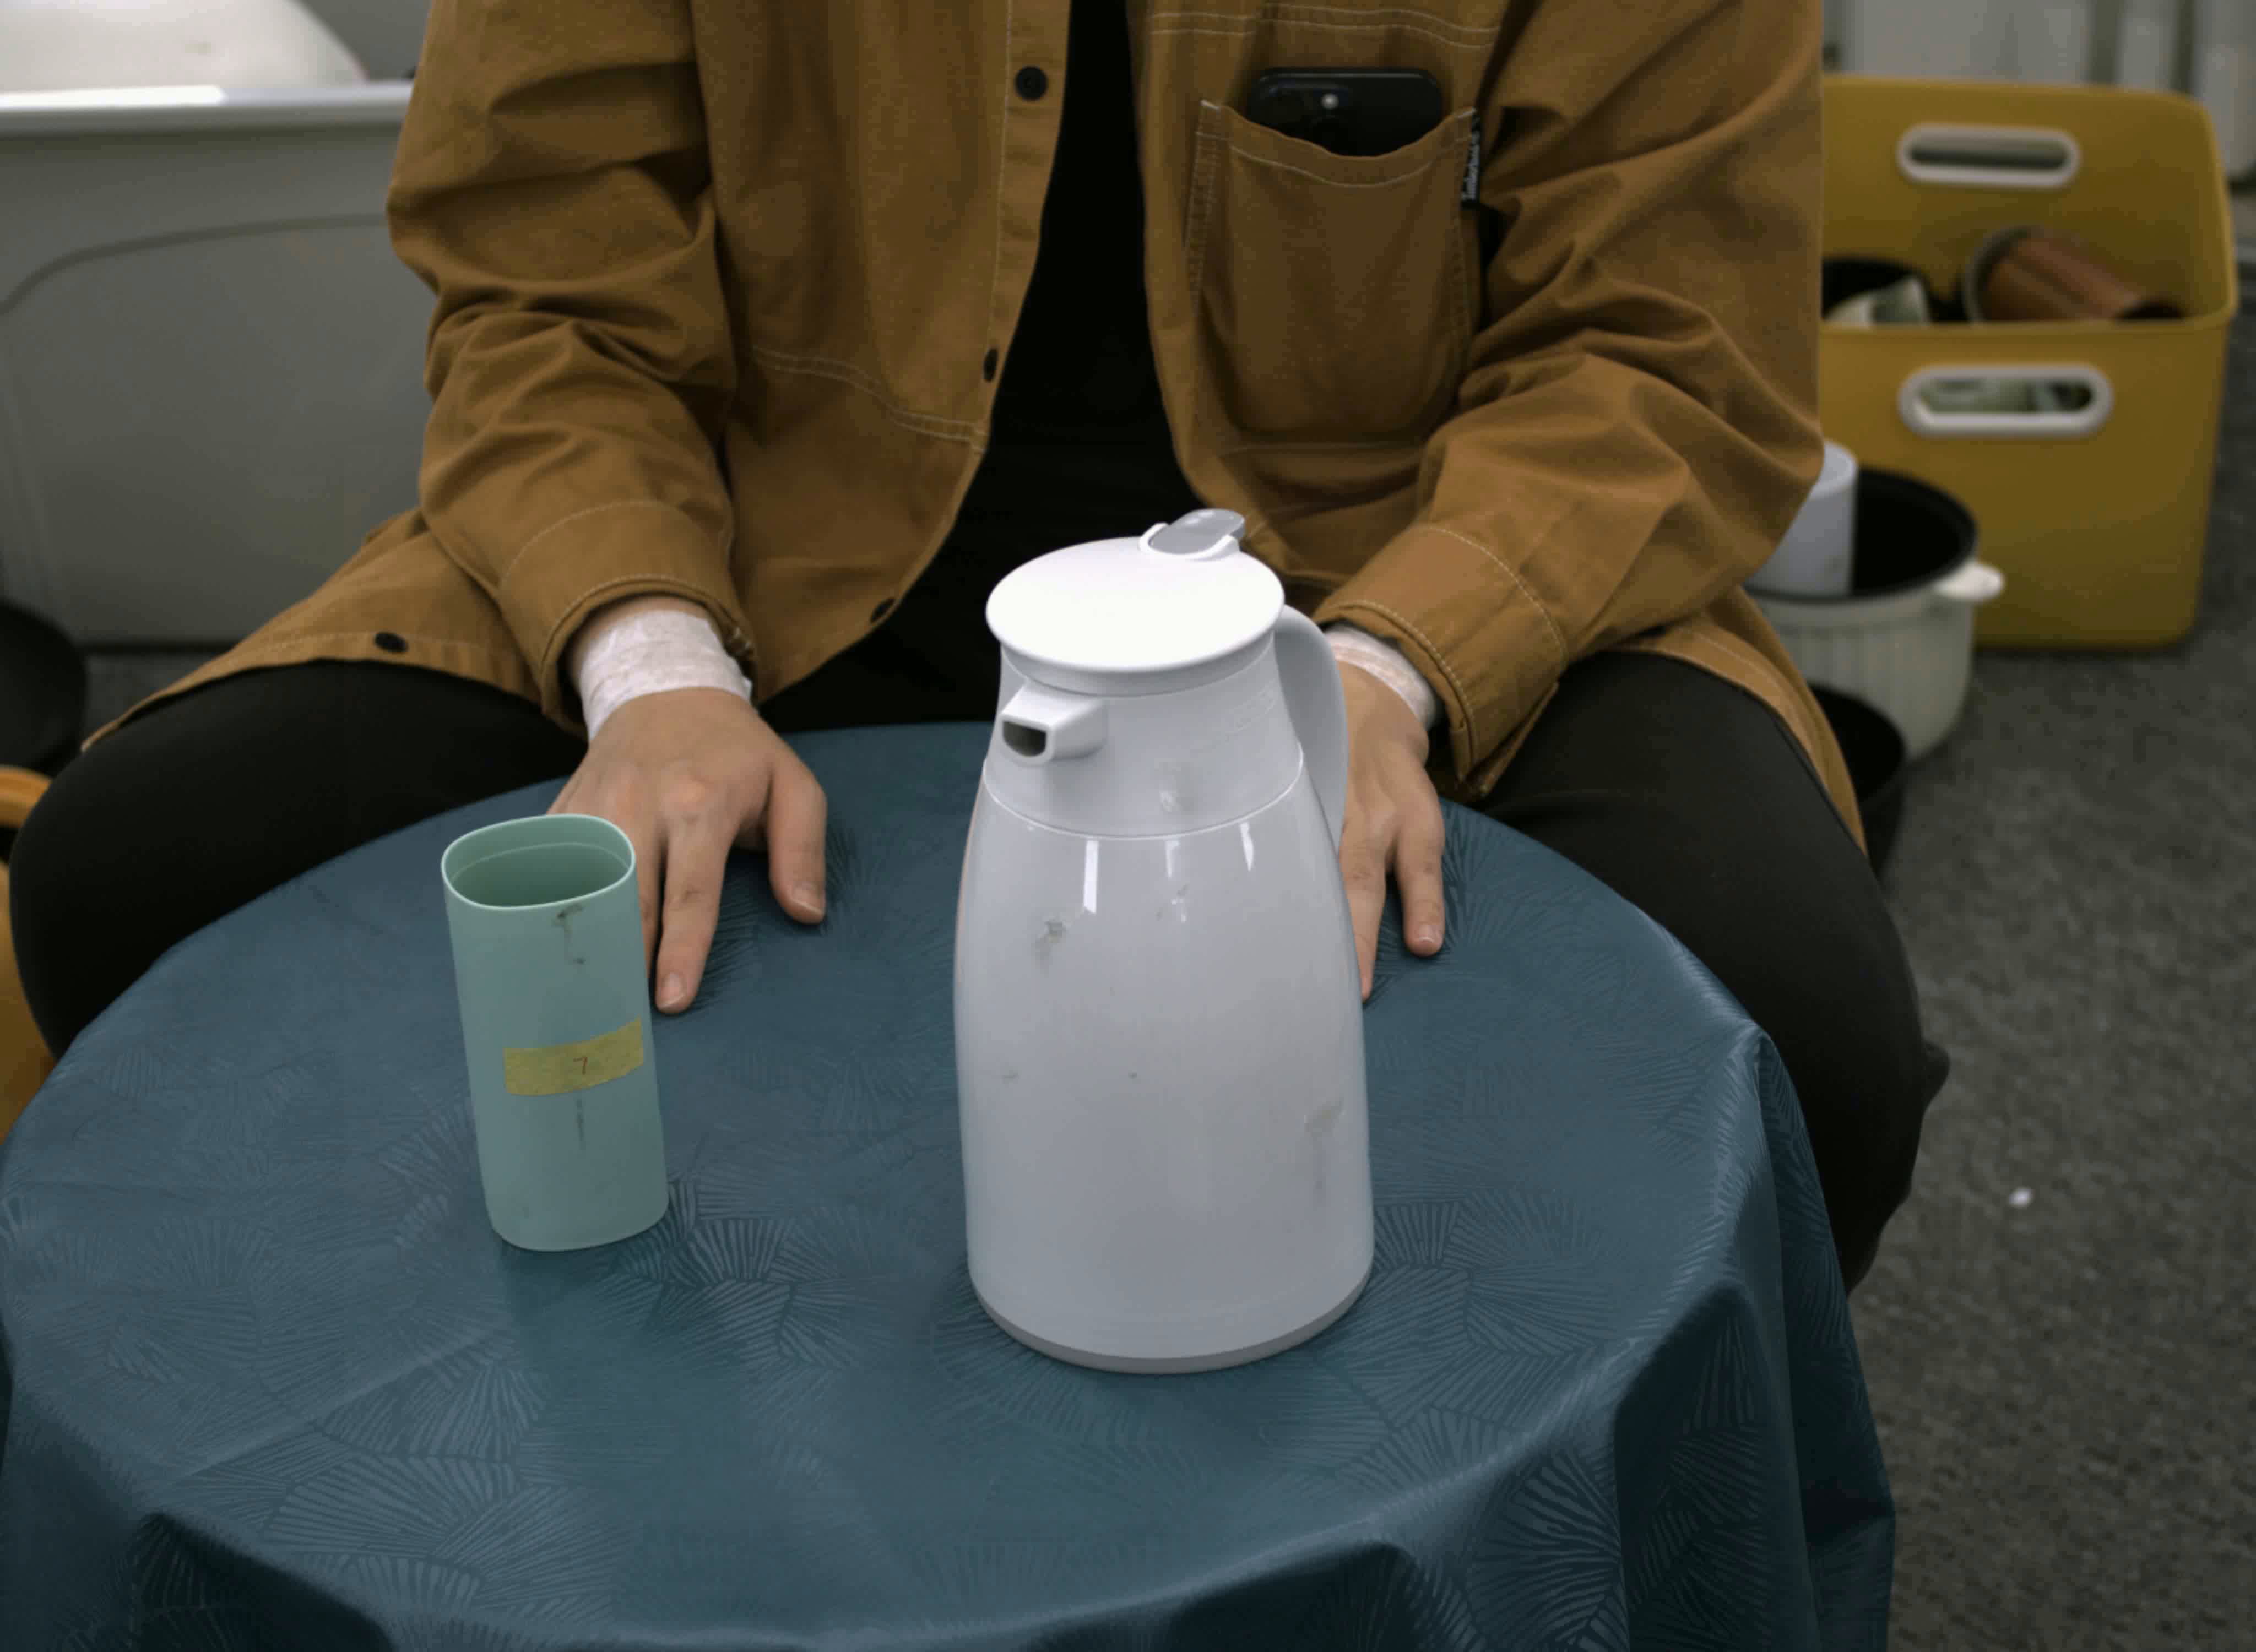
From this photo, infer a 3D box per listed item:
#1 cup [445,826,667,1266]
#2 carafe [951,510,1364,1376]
[{"bbox_3d":[-0.187,0.072,1.841,0.066,0.131,0.068,-2,26,1],"label":"cup"},{"bbox_3d":[0.018,0.026,1.780,0.132,0.246,0.170,15,30,30],"label":"carafe"}]
